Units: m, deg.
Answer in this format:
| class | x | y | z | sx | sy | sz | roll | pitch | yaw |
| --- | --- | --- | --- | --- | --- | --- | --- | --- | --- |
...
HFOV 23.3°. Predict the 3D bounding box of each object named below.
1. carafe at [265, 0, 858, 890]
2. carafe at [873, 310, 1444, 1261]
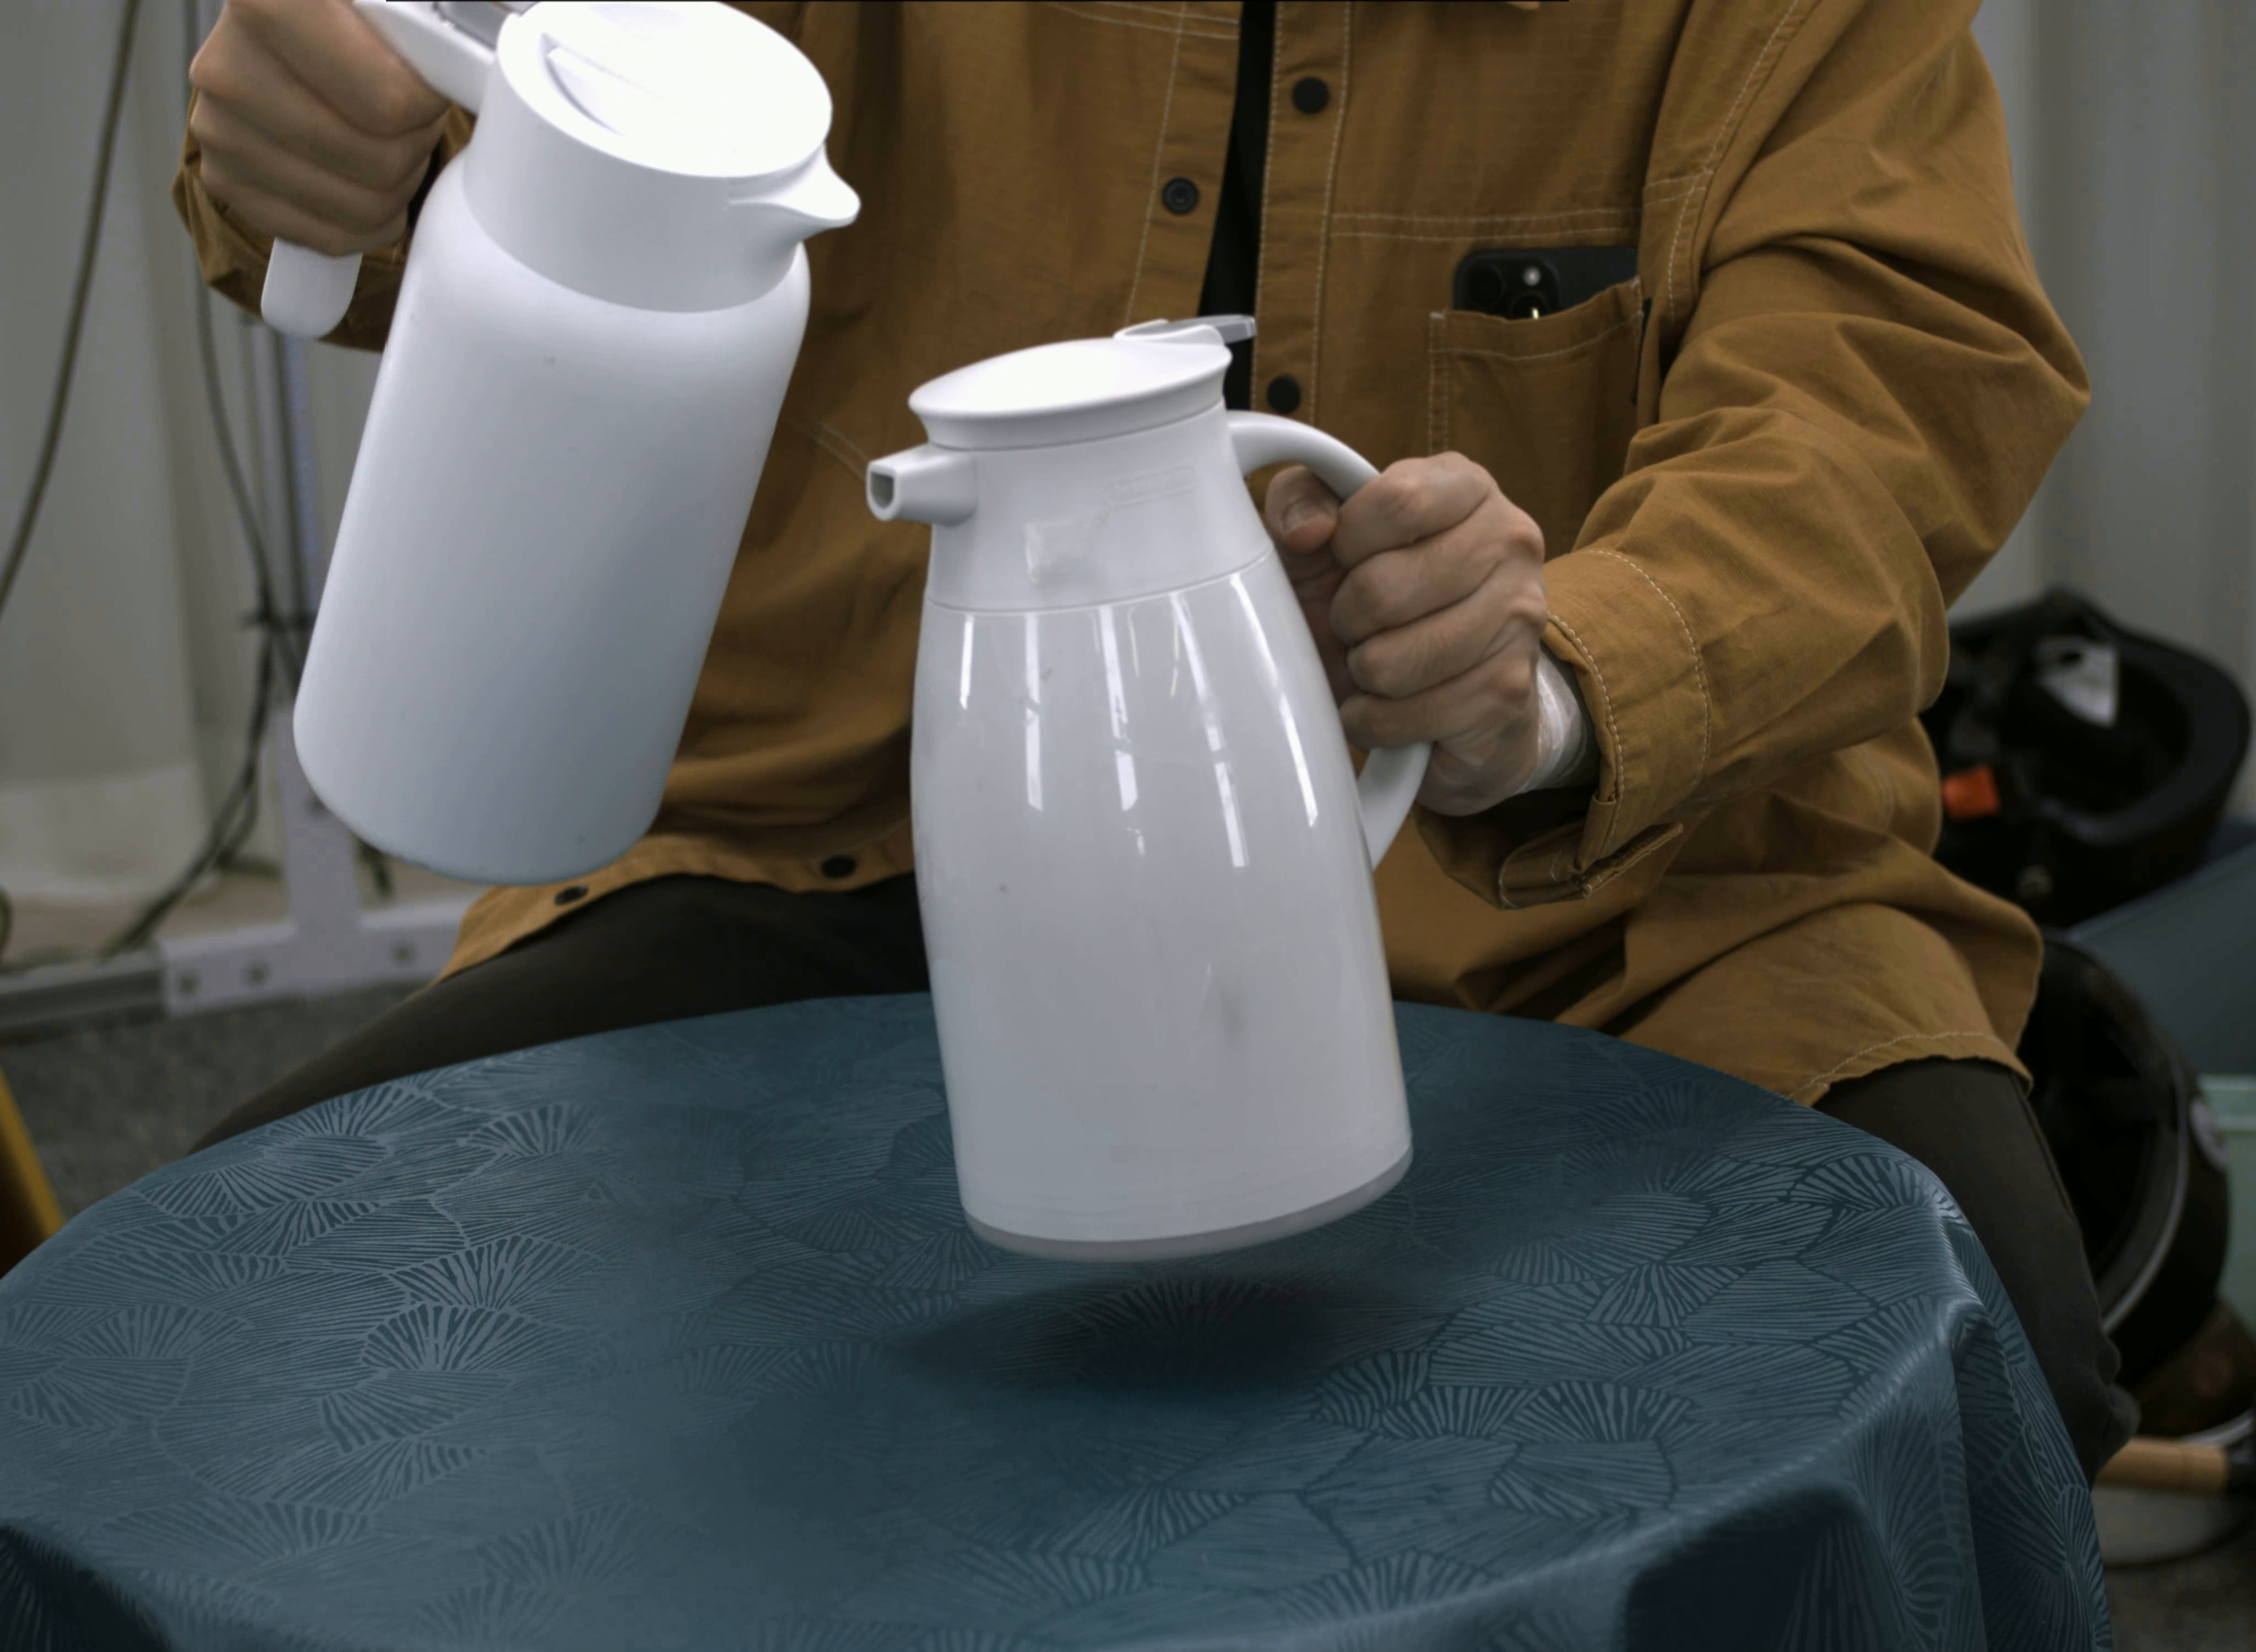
| class | x | y | z | sx | sy | sz | roll | pitch | yaw |
| --- | --- | --- | --- | --- | --- | --- | --- | --- | --- |
| carafe | -0.183 | -0.122 | 1.637 | 0.173 | 0.266 | 0.124 | 30 | 39 | 15 |
| carafe | 0.016 | -0.020 | 1.561 | 0.167 | 0.248 | 0.133 | -14 | 14 | -26 |
